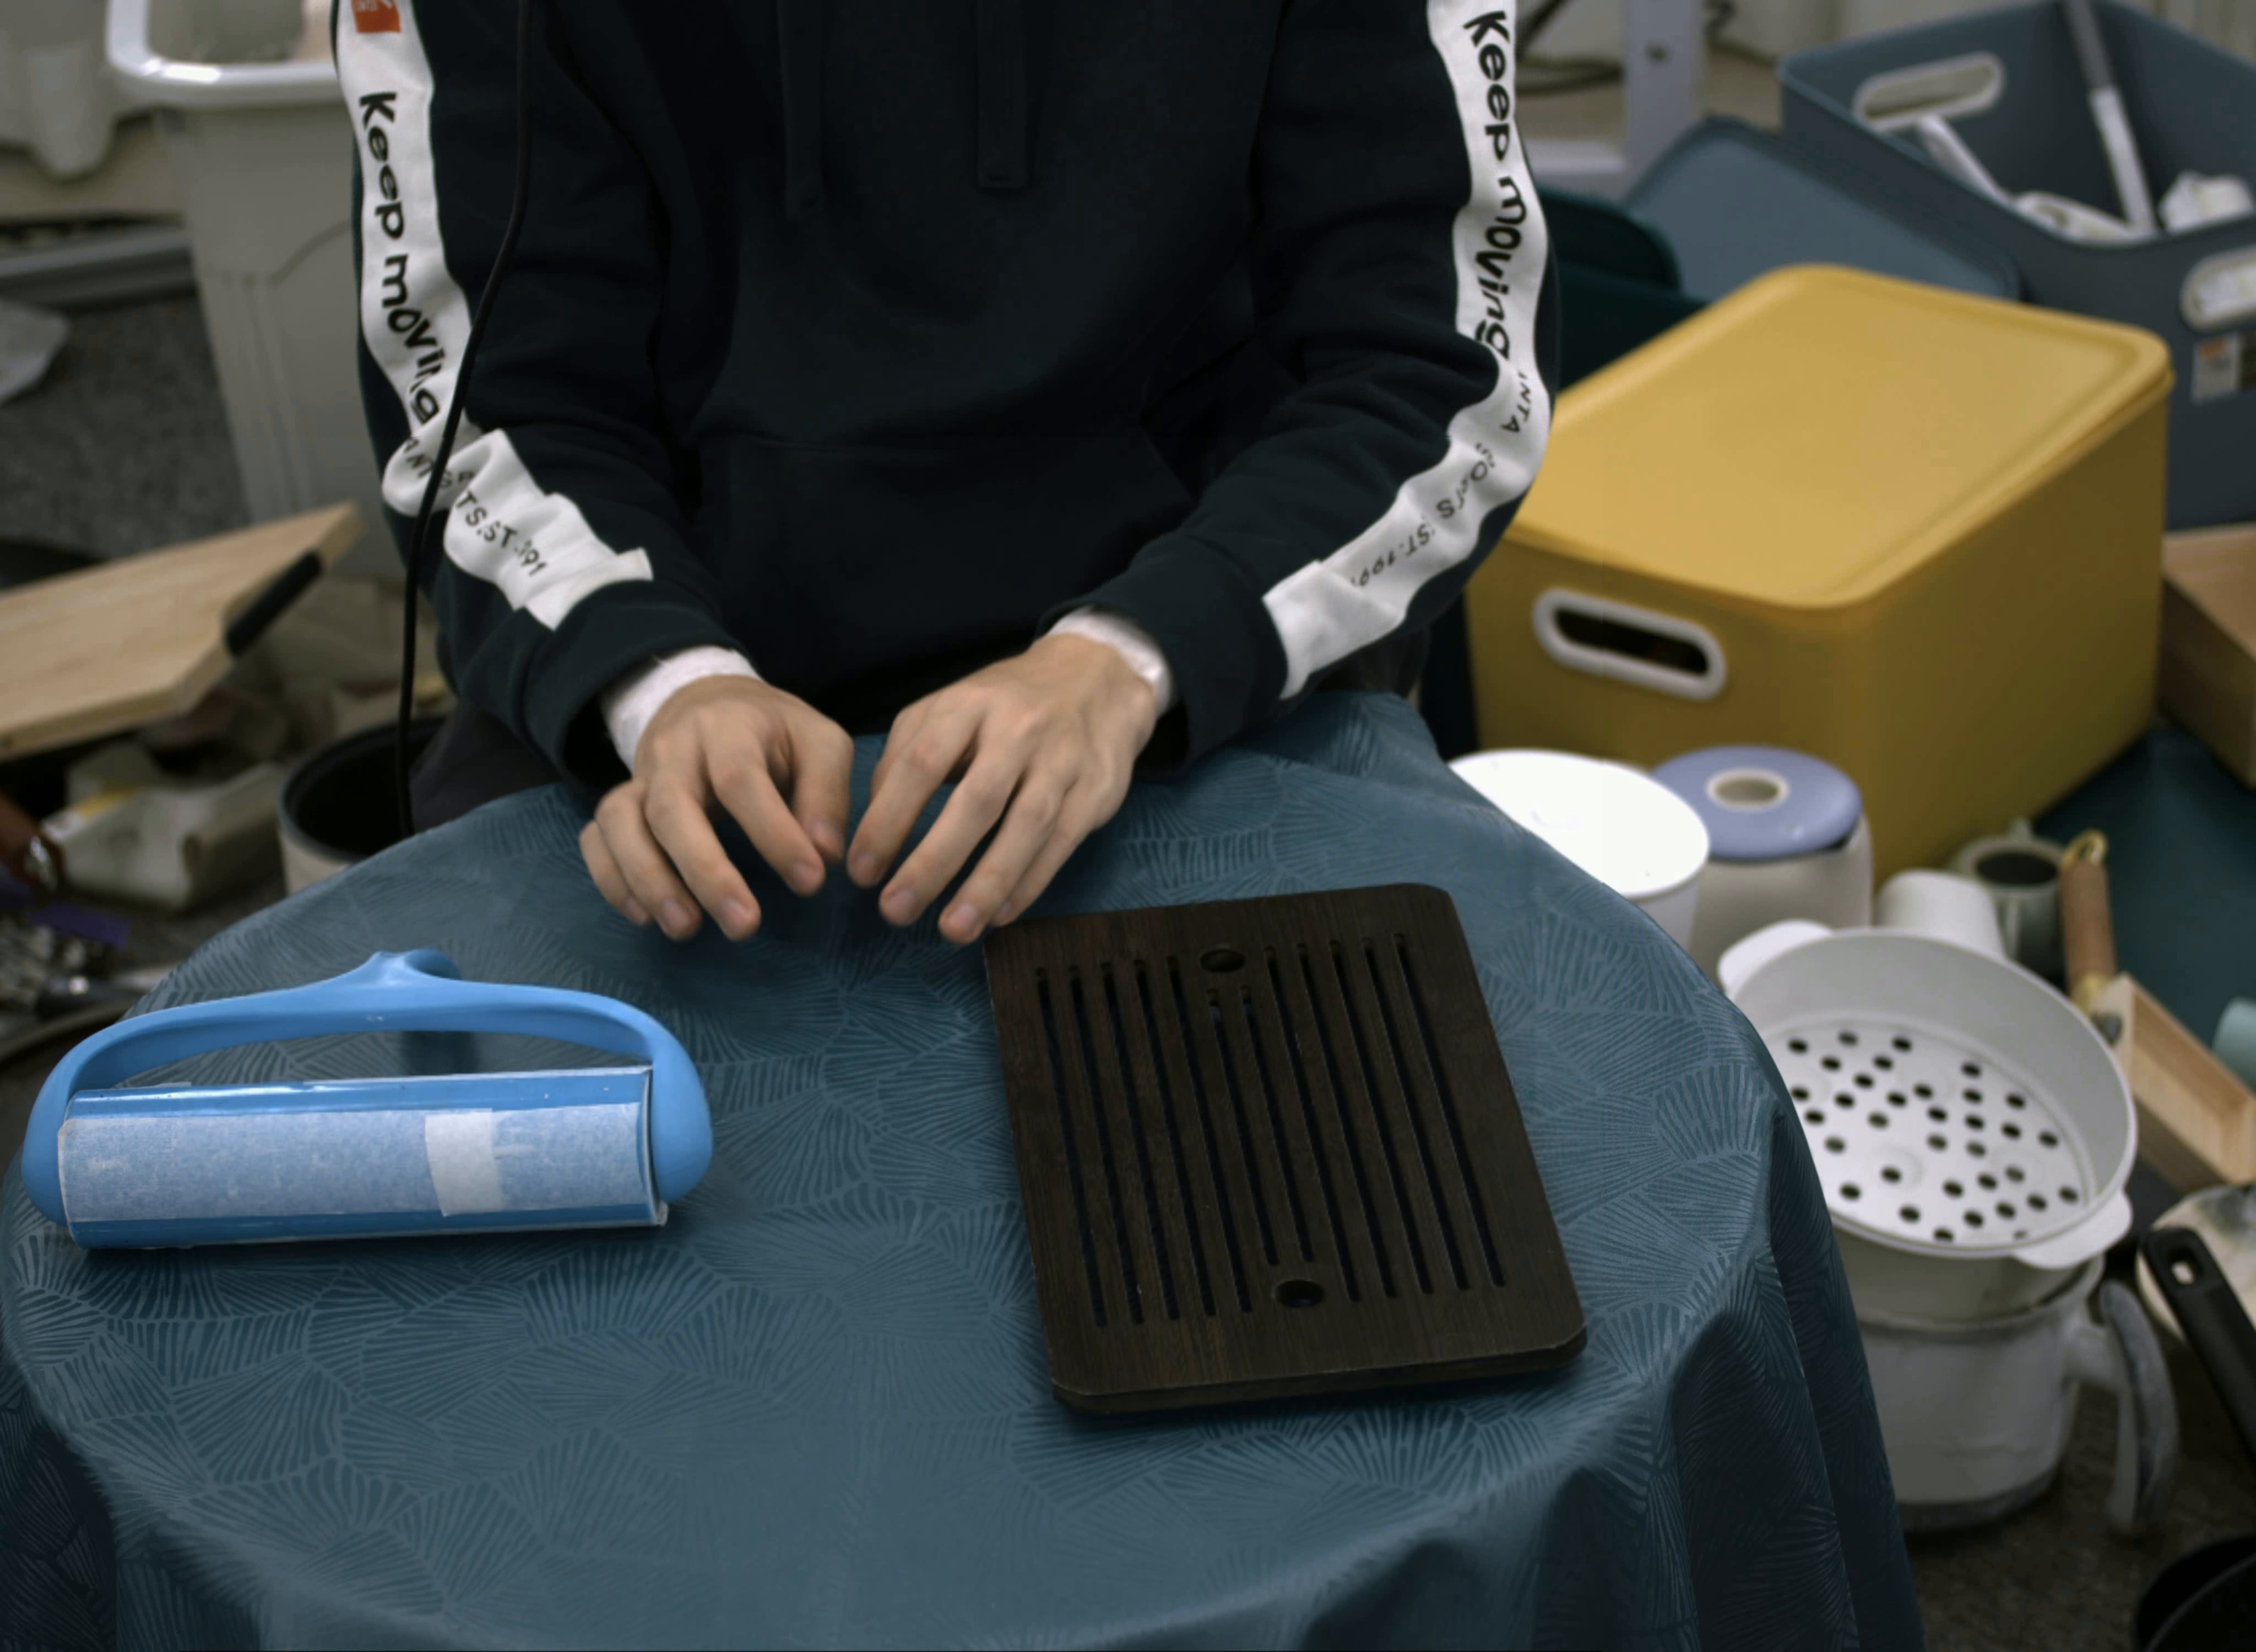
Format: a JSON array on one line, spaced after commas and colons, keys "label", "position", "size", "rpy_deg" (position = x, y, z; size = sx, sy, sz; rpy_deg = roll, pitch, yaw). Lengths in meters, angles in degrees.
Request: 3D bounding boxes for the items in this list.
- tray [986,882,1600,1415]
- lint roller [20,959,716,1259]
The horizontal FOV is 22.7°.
[{"label": "tray", "position": [0.048, 0.104, 1.869], "size": [0.169, 0.018, 0.310], "rpy_deg": [-5, 28, -4]}, {"label": "lint roller", "position": [-0.252, 0.081, 1.901], "size": [0.228, 0.067, 0.183], "rpy_deg": [-5, 28, 0]}]
